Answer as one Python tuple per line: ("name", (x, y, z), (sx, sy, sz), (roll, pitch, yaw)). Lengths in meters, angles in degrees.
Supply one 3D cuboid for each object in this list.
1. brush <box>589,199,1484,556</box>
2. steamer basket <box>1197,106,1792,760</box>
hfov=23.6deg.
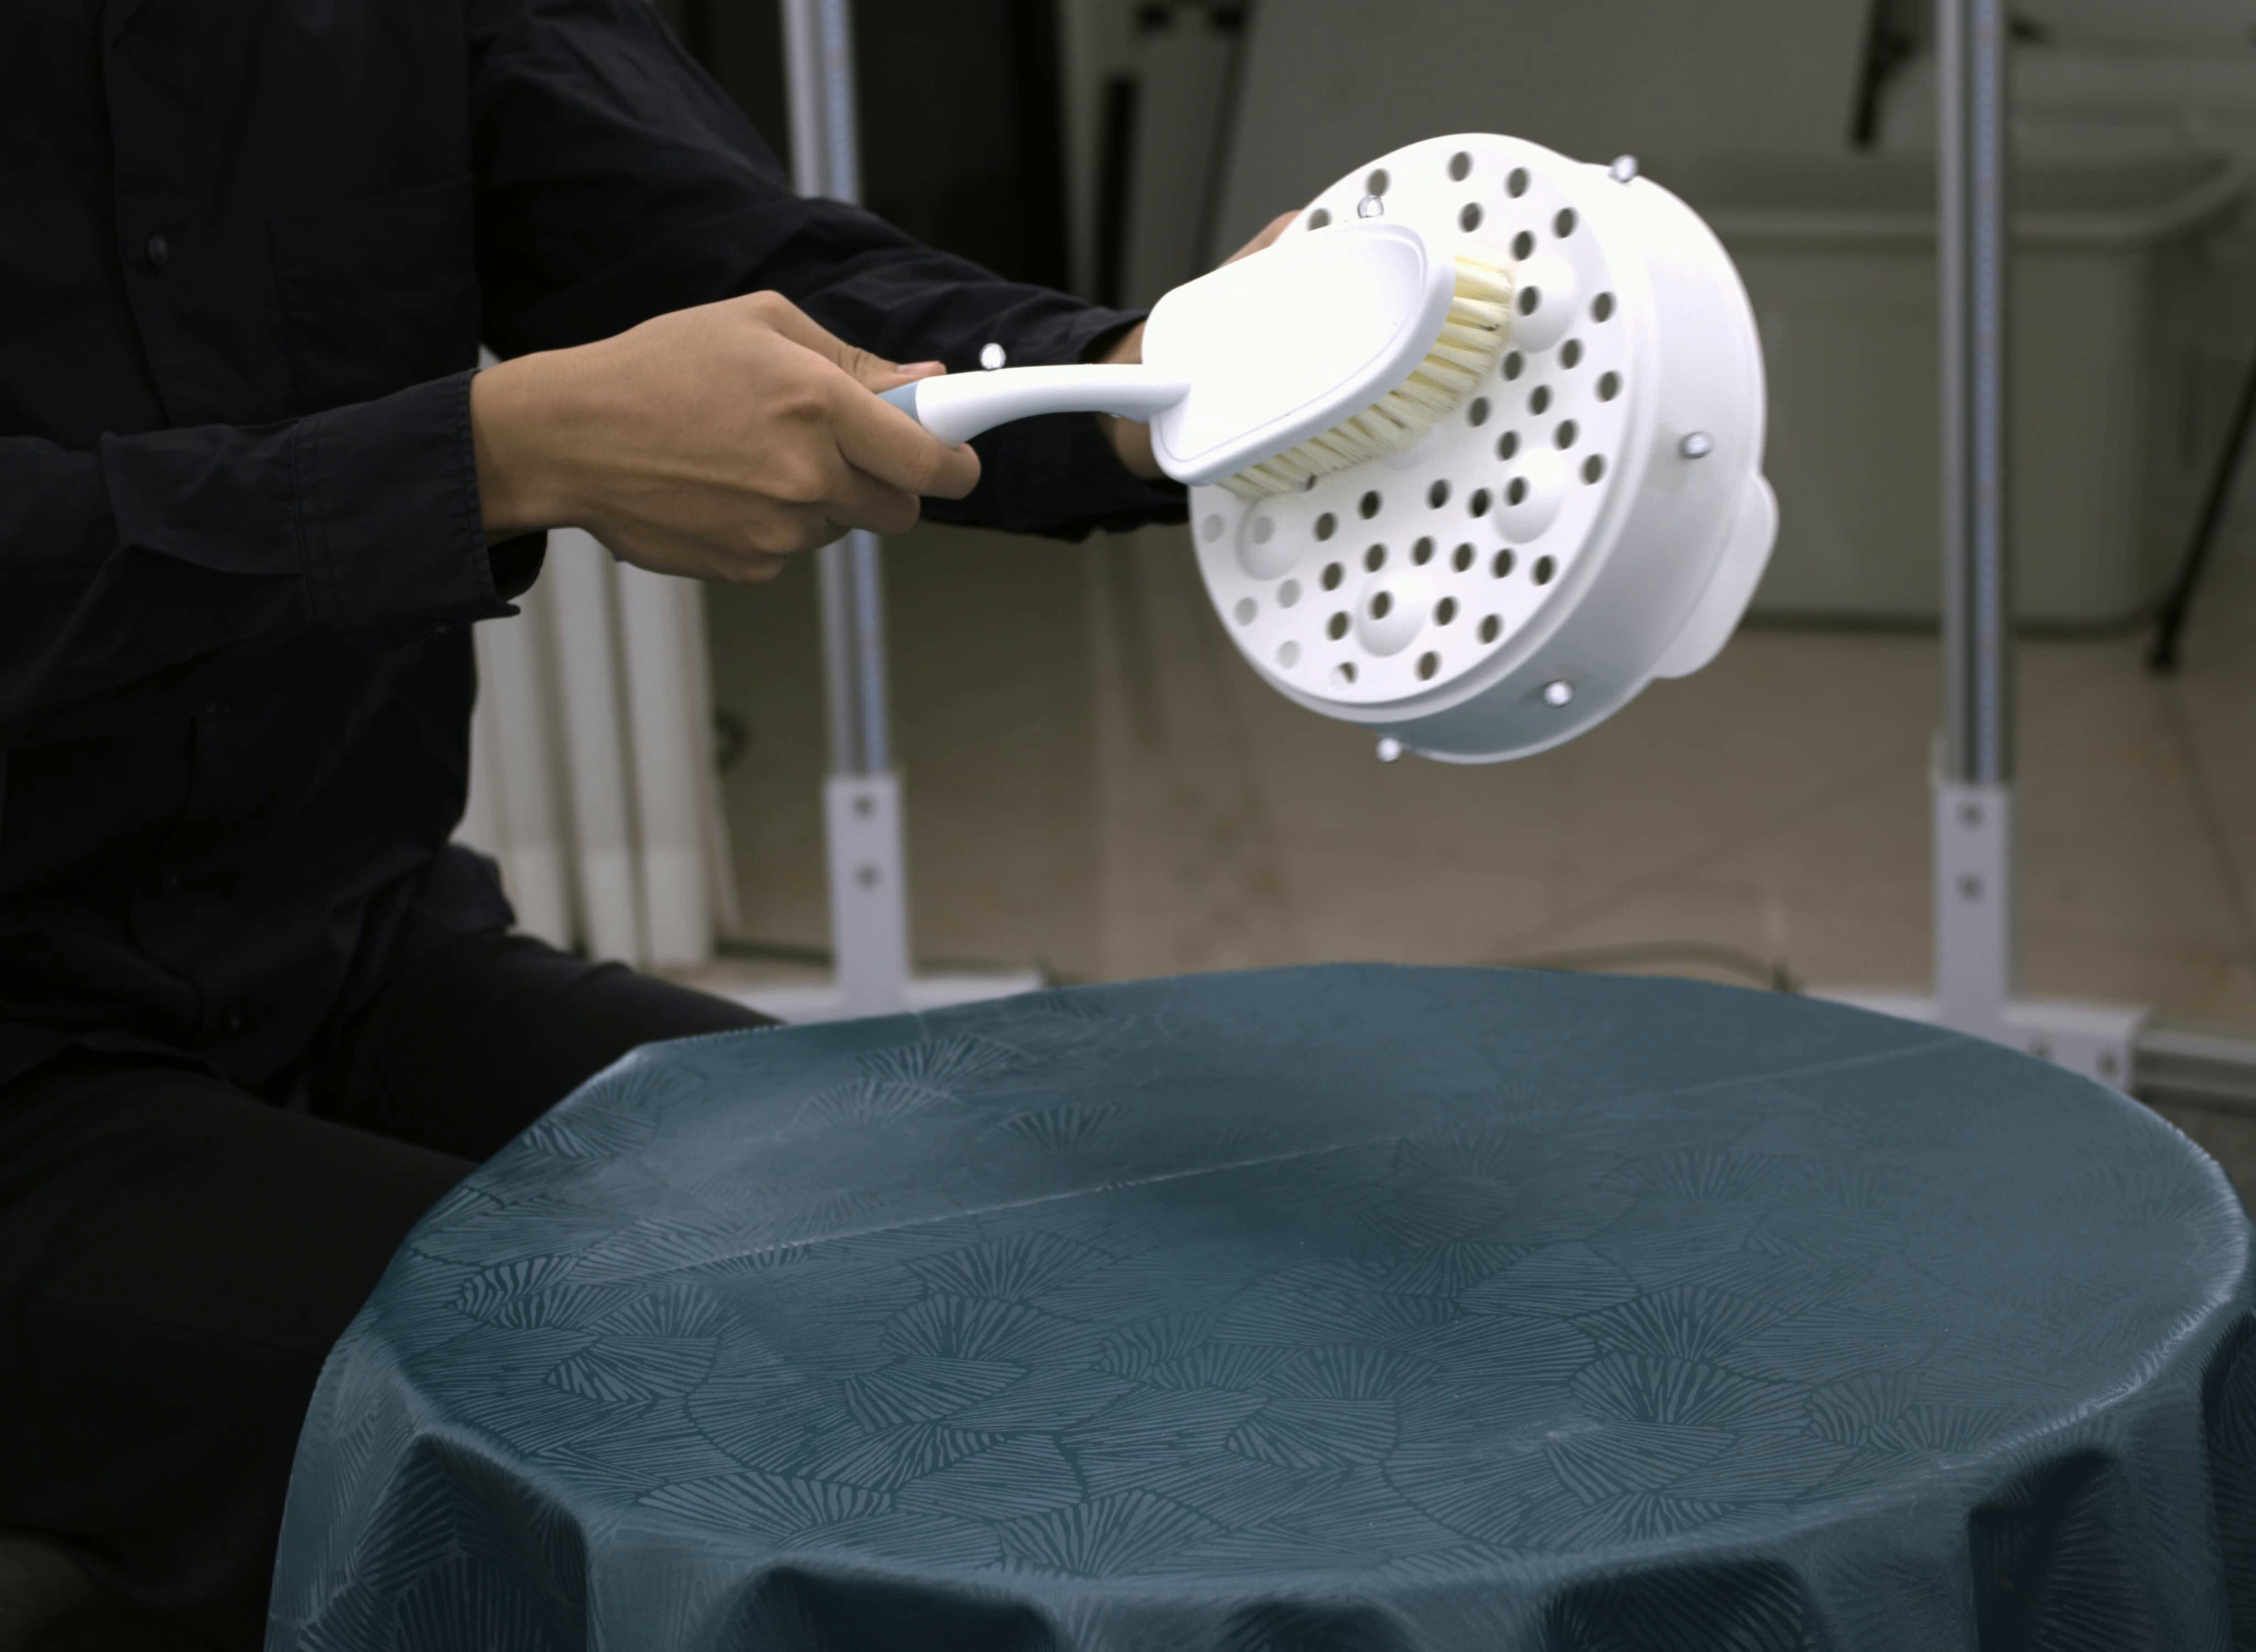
("brush", (-0.027, -0.137, 1.760), (0.326, 0.084, 0.083), (-16, 33, 26))
("steamer basket", (0.110, -0.126, 1.720), (0.068, 0.204, 0.233), (17, 12, -45))
